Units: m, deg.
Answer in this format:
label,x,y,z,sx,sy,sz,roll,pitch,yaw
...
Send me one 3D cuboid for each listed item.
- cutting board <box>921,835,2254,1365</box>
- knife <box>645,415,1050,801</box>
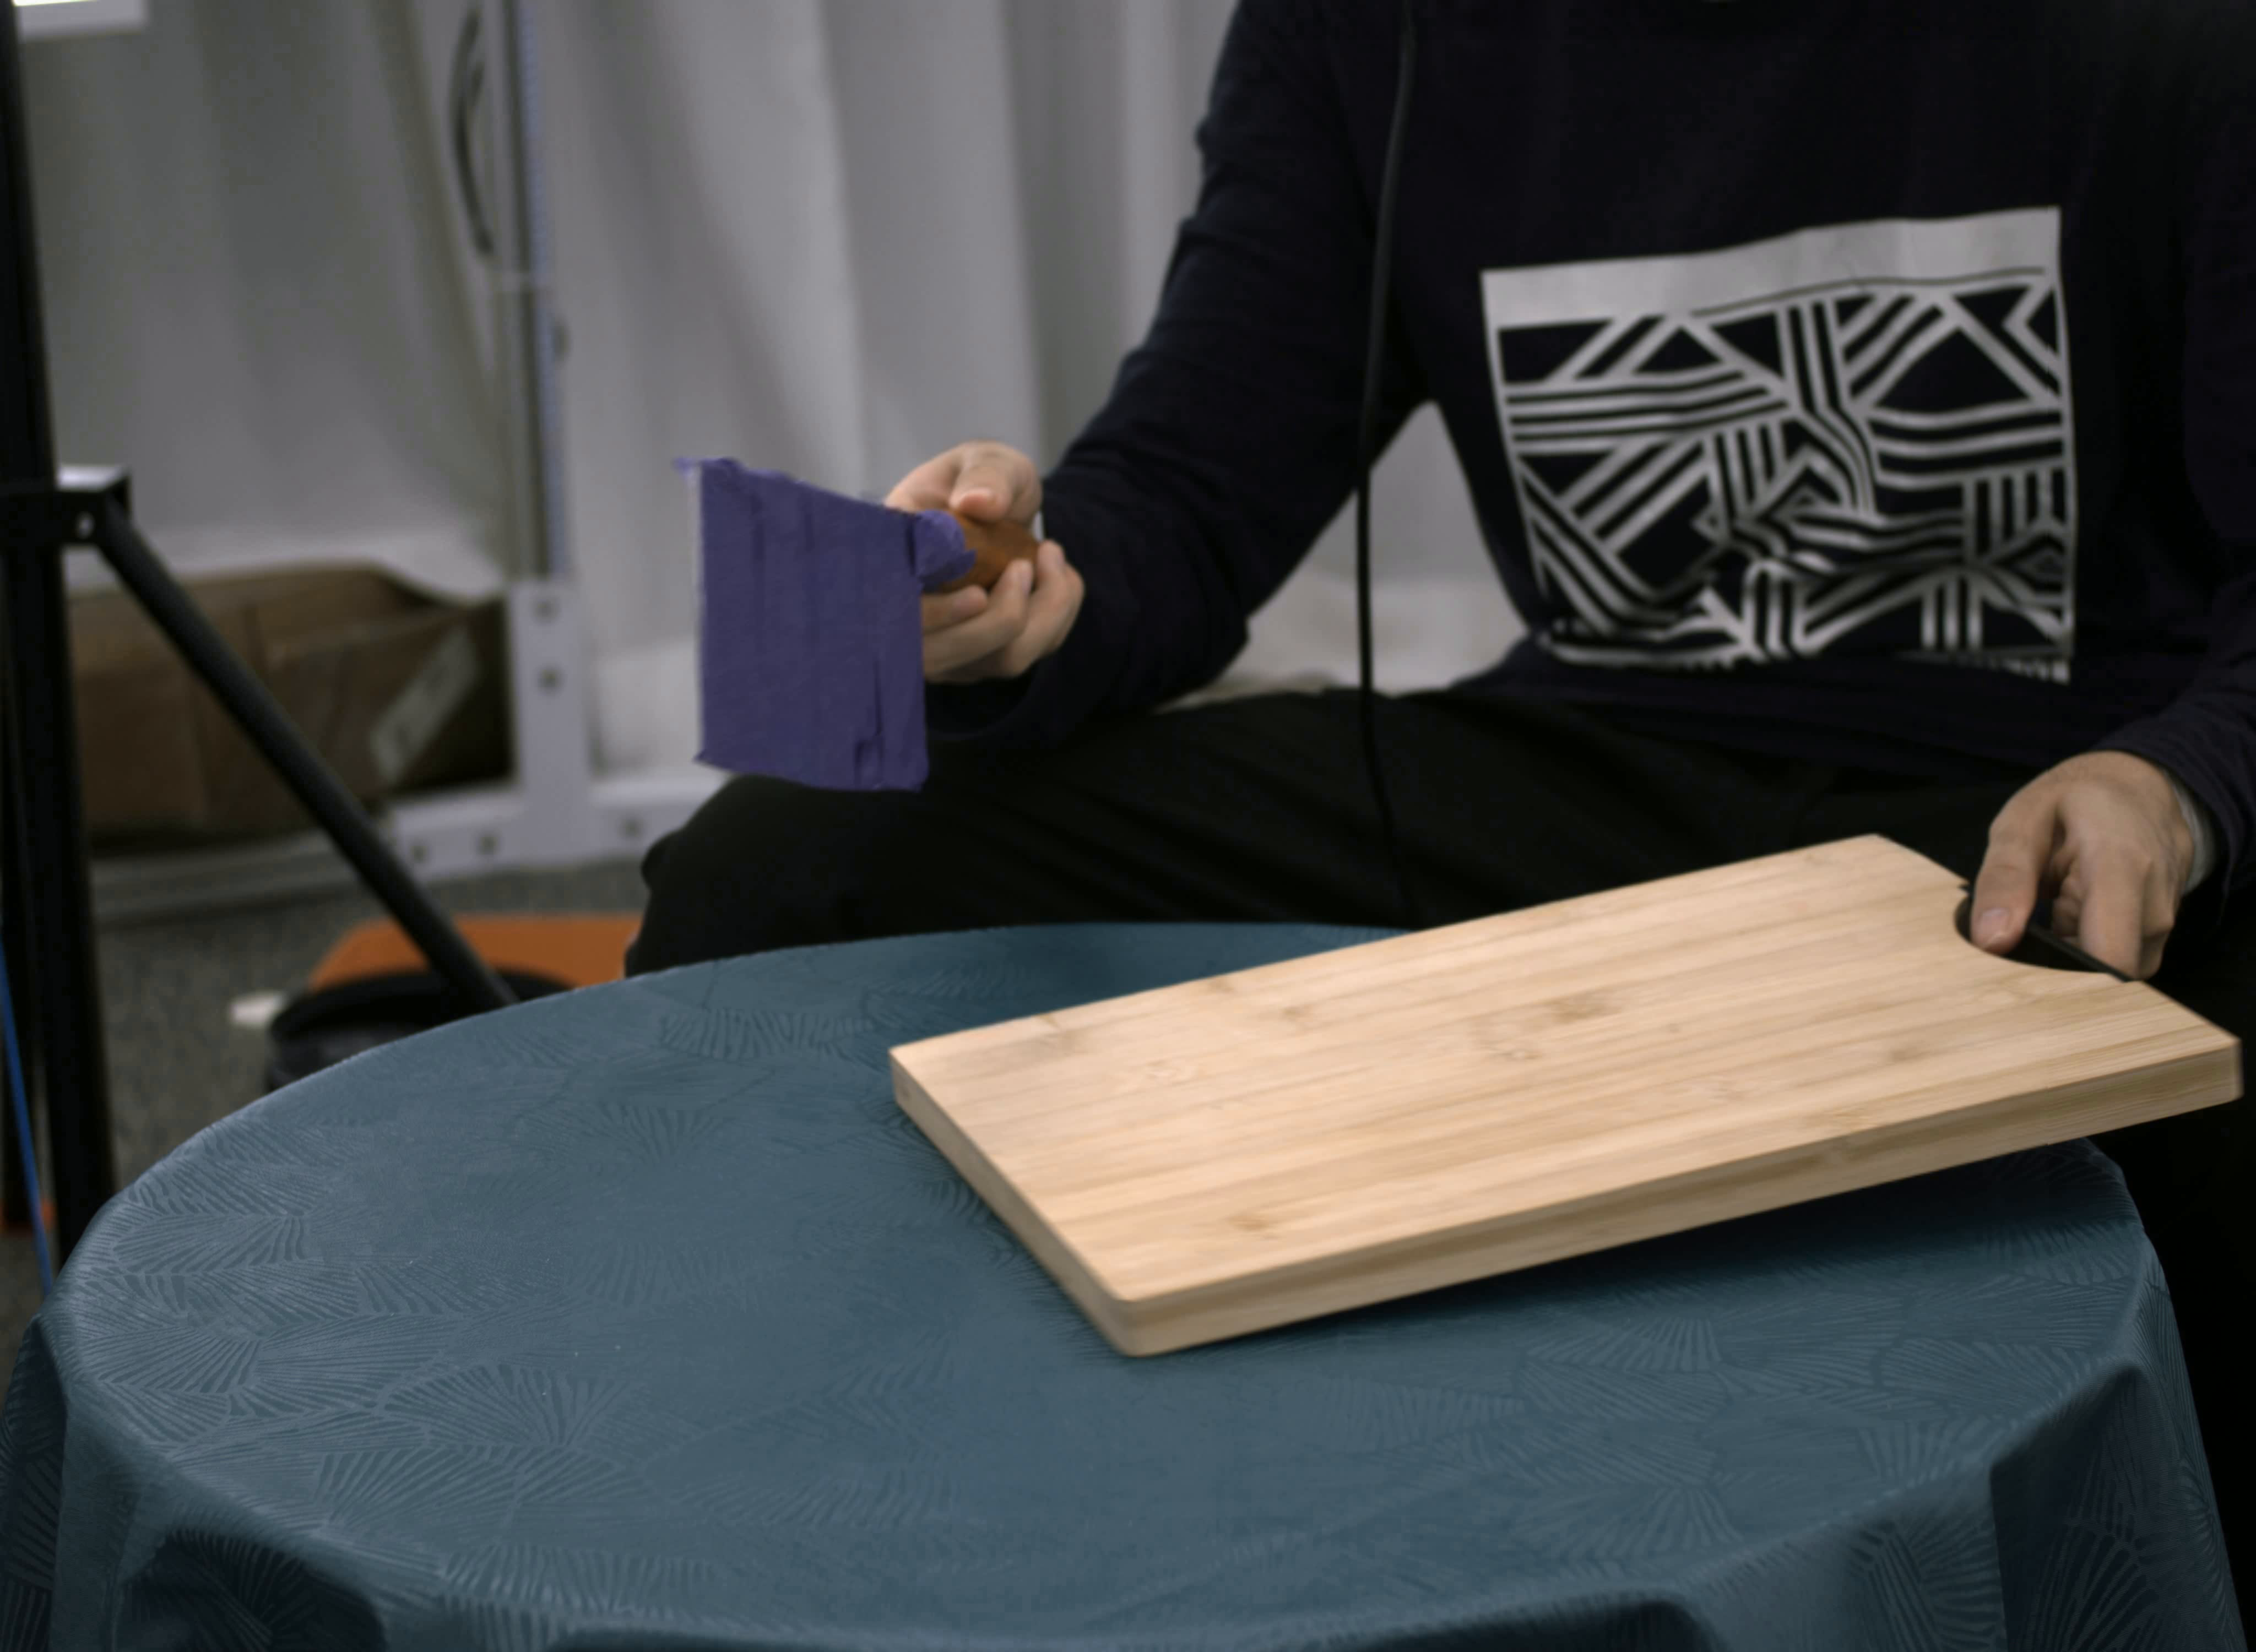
label,x,y,z,sx,sy,sz,roll,pitch,yaw
cutting board,0.131,0.074,1.579,0.343,0.023,0.255,-12,18,-15
knife,-0.086,-0.057,1.655,0.032,0.104,0.310,-2,-4,19
